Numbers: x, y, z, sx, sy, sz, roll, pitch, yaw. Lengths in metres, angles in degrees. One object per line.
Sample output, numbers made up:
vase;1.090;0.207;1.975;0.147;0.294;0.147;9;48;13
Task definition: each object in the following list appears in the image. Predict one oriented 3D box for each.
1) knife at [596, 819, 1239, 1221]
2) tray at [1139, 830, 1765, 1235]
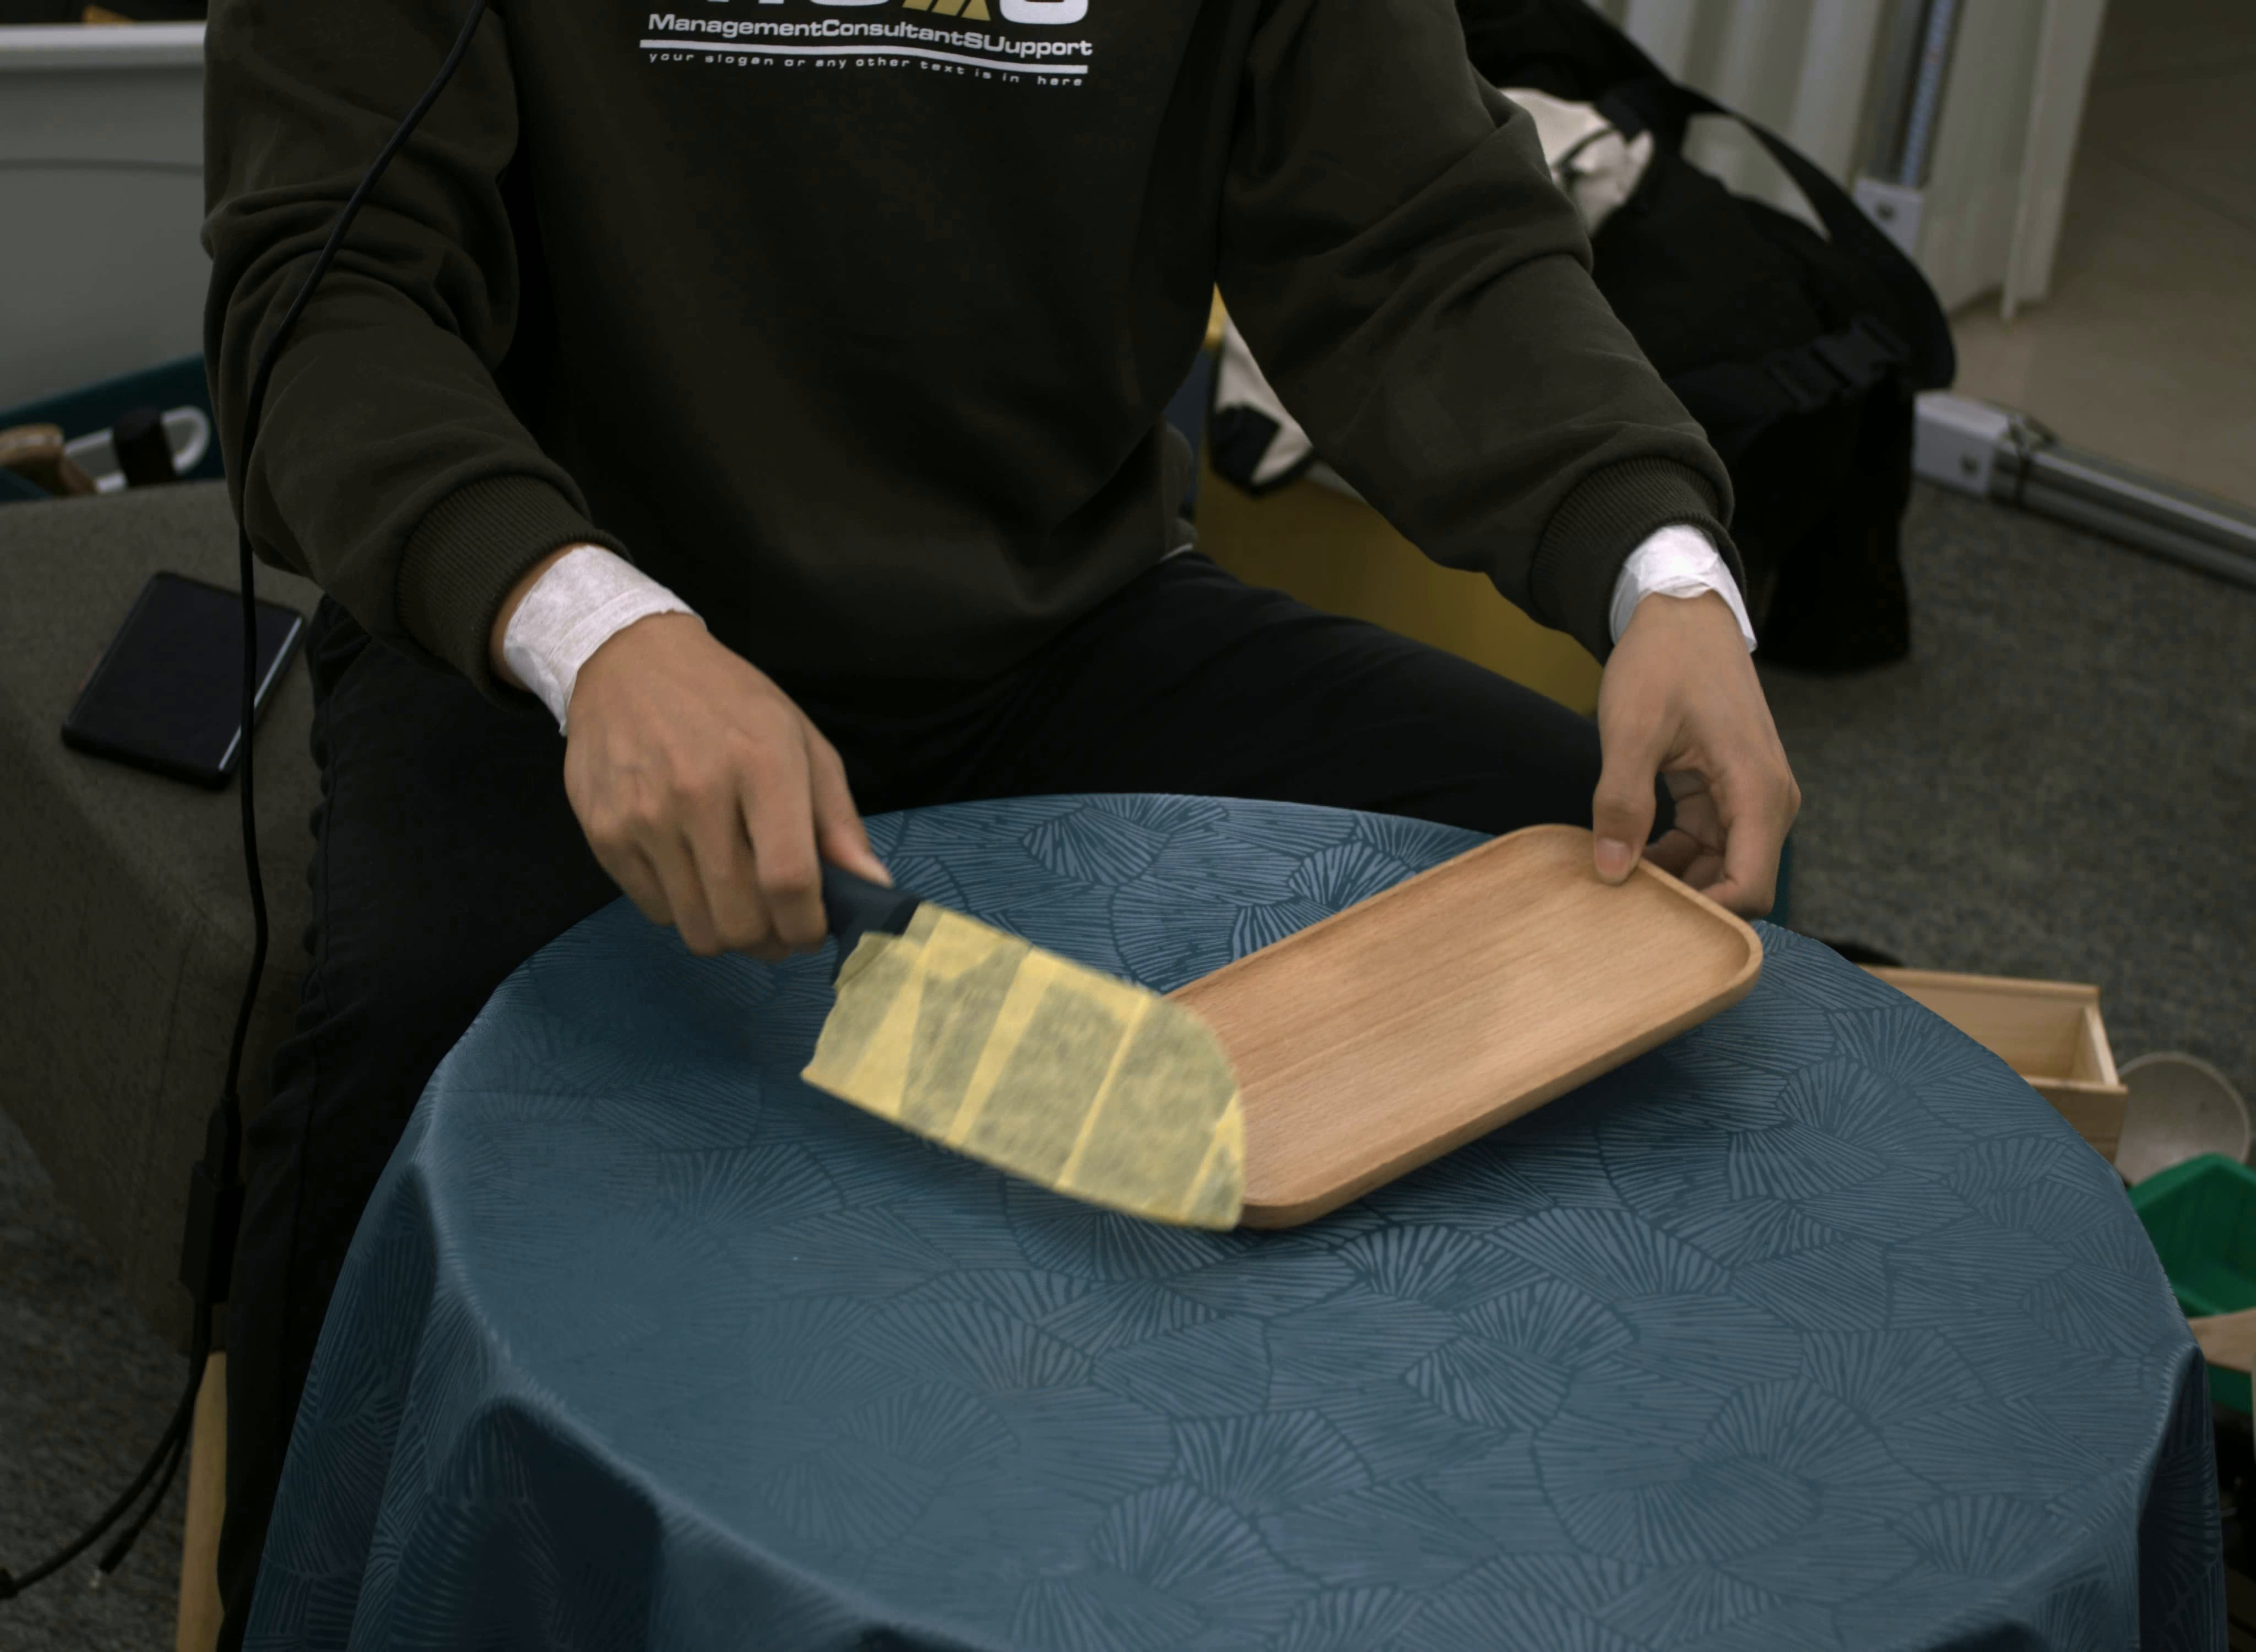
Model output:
knife;-0.077;0.063;1.811;0.291;0.081;0.027;25;-9;32
tray;0.102;0.071;1.874;0.249;0.023;0.131;-24;36;-30
